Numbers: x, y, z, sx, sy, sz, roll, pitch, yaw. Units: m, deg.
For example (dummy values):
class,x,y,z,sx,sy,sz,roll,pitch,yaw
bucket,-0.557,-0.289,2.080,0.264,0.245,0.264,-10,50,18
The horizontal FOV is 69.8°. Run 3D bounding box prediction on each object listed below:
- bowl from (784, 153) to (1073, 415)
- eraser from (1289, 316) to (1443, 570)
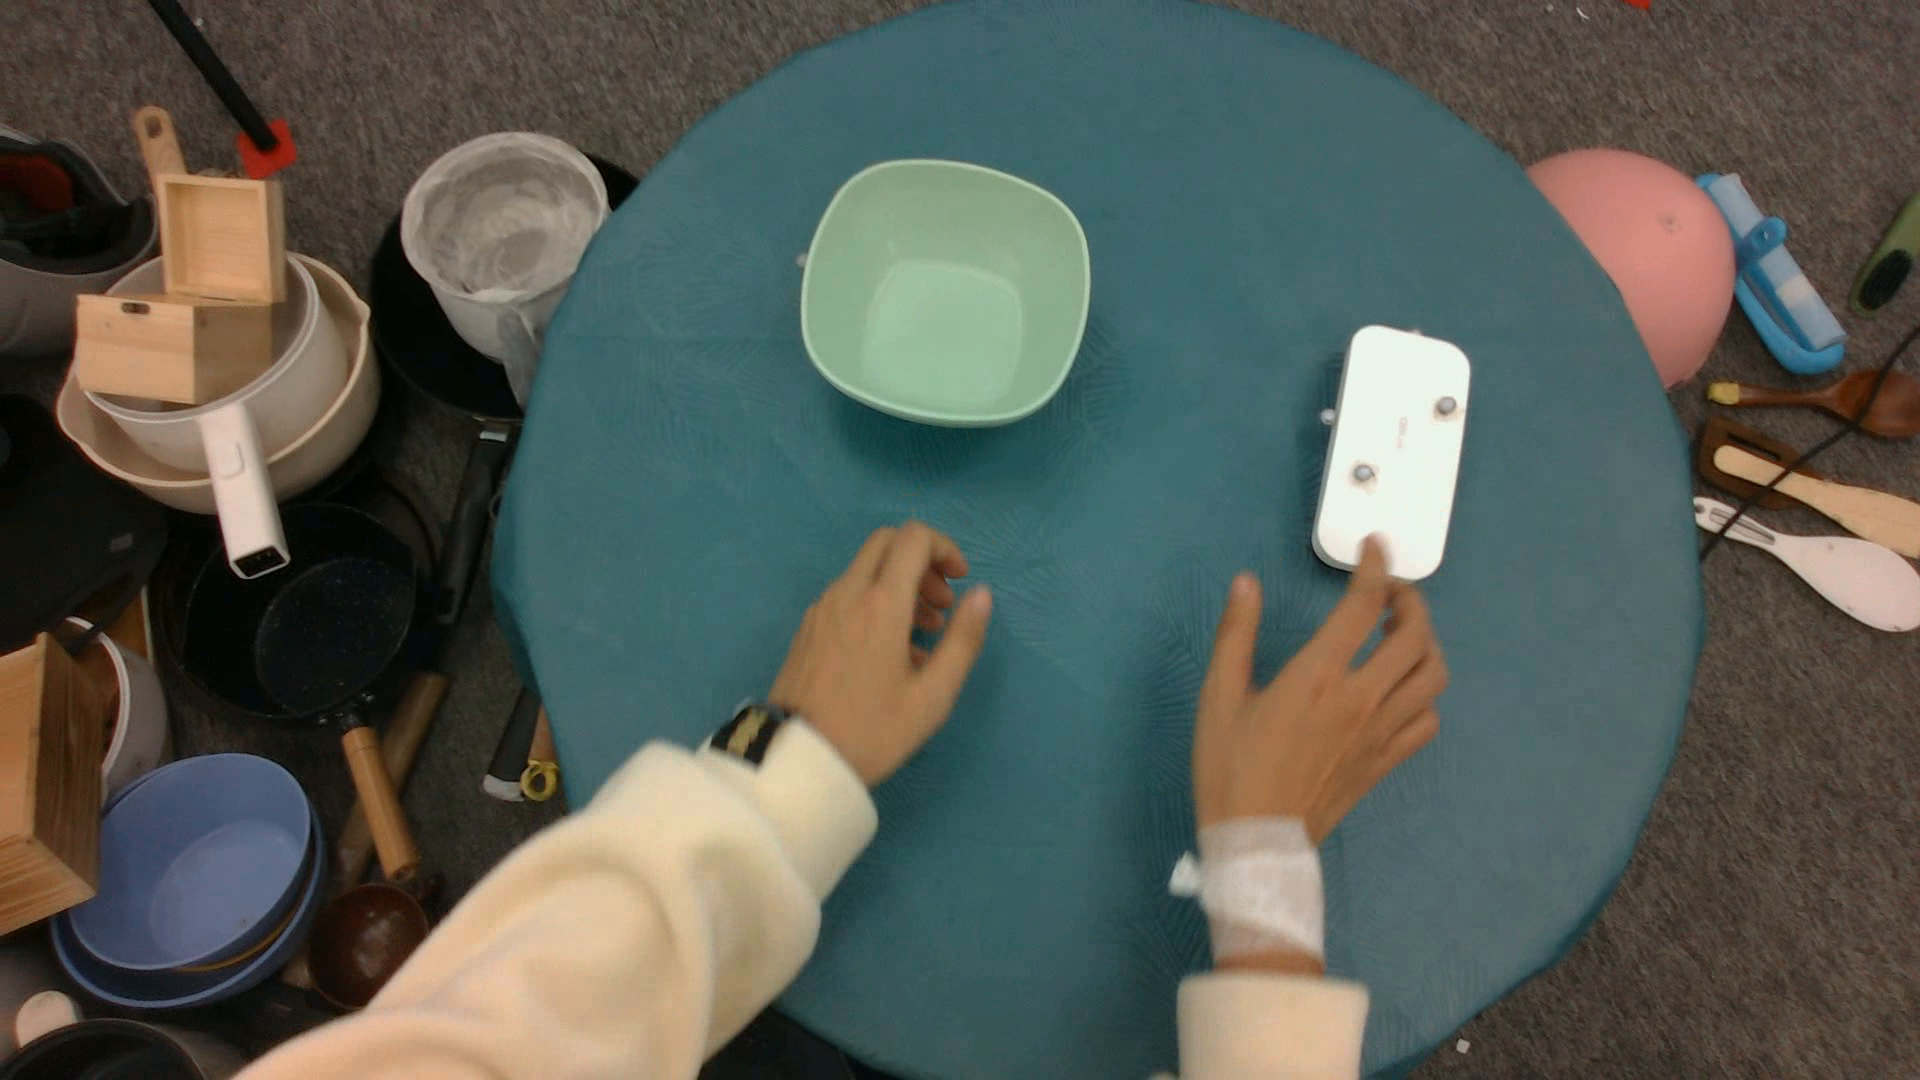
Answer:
class,x,y,z,sx,sy,sz,roll,pitch,yaw
bowl,-0.015,-0.119,0.693,0.151,0.058,0.152,0,71,-1
eraser,0.204,-0.051,0.696,0.063,0.034,0.132,15,70,1
